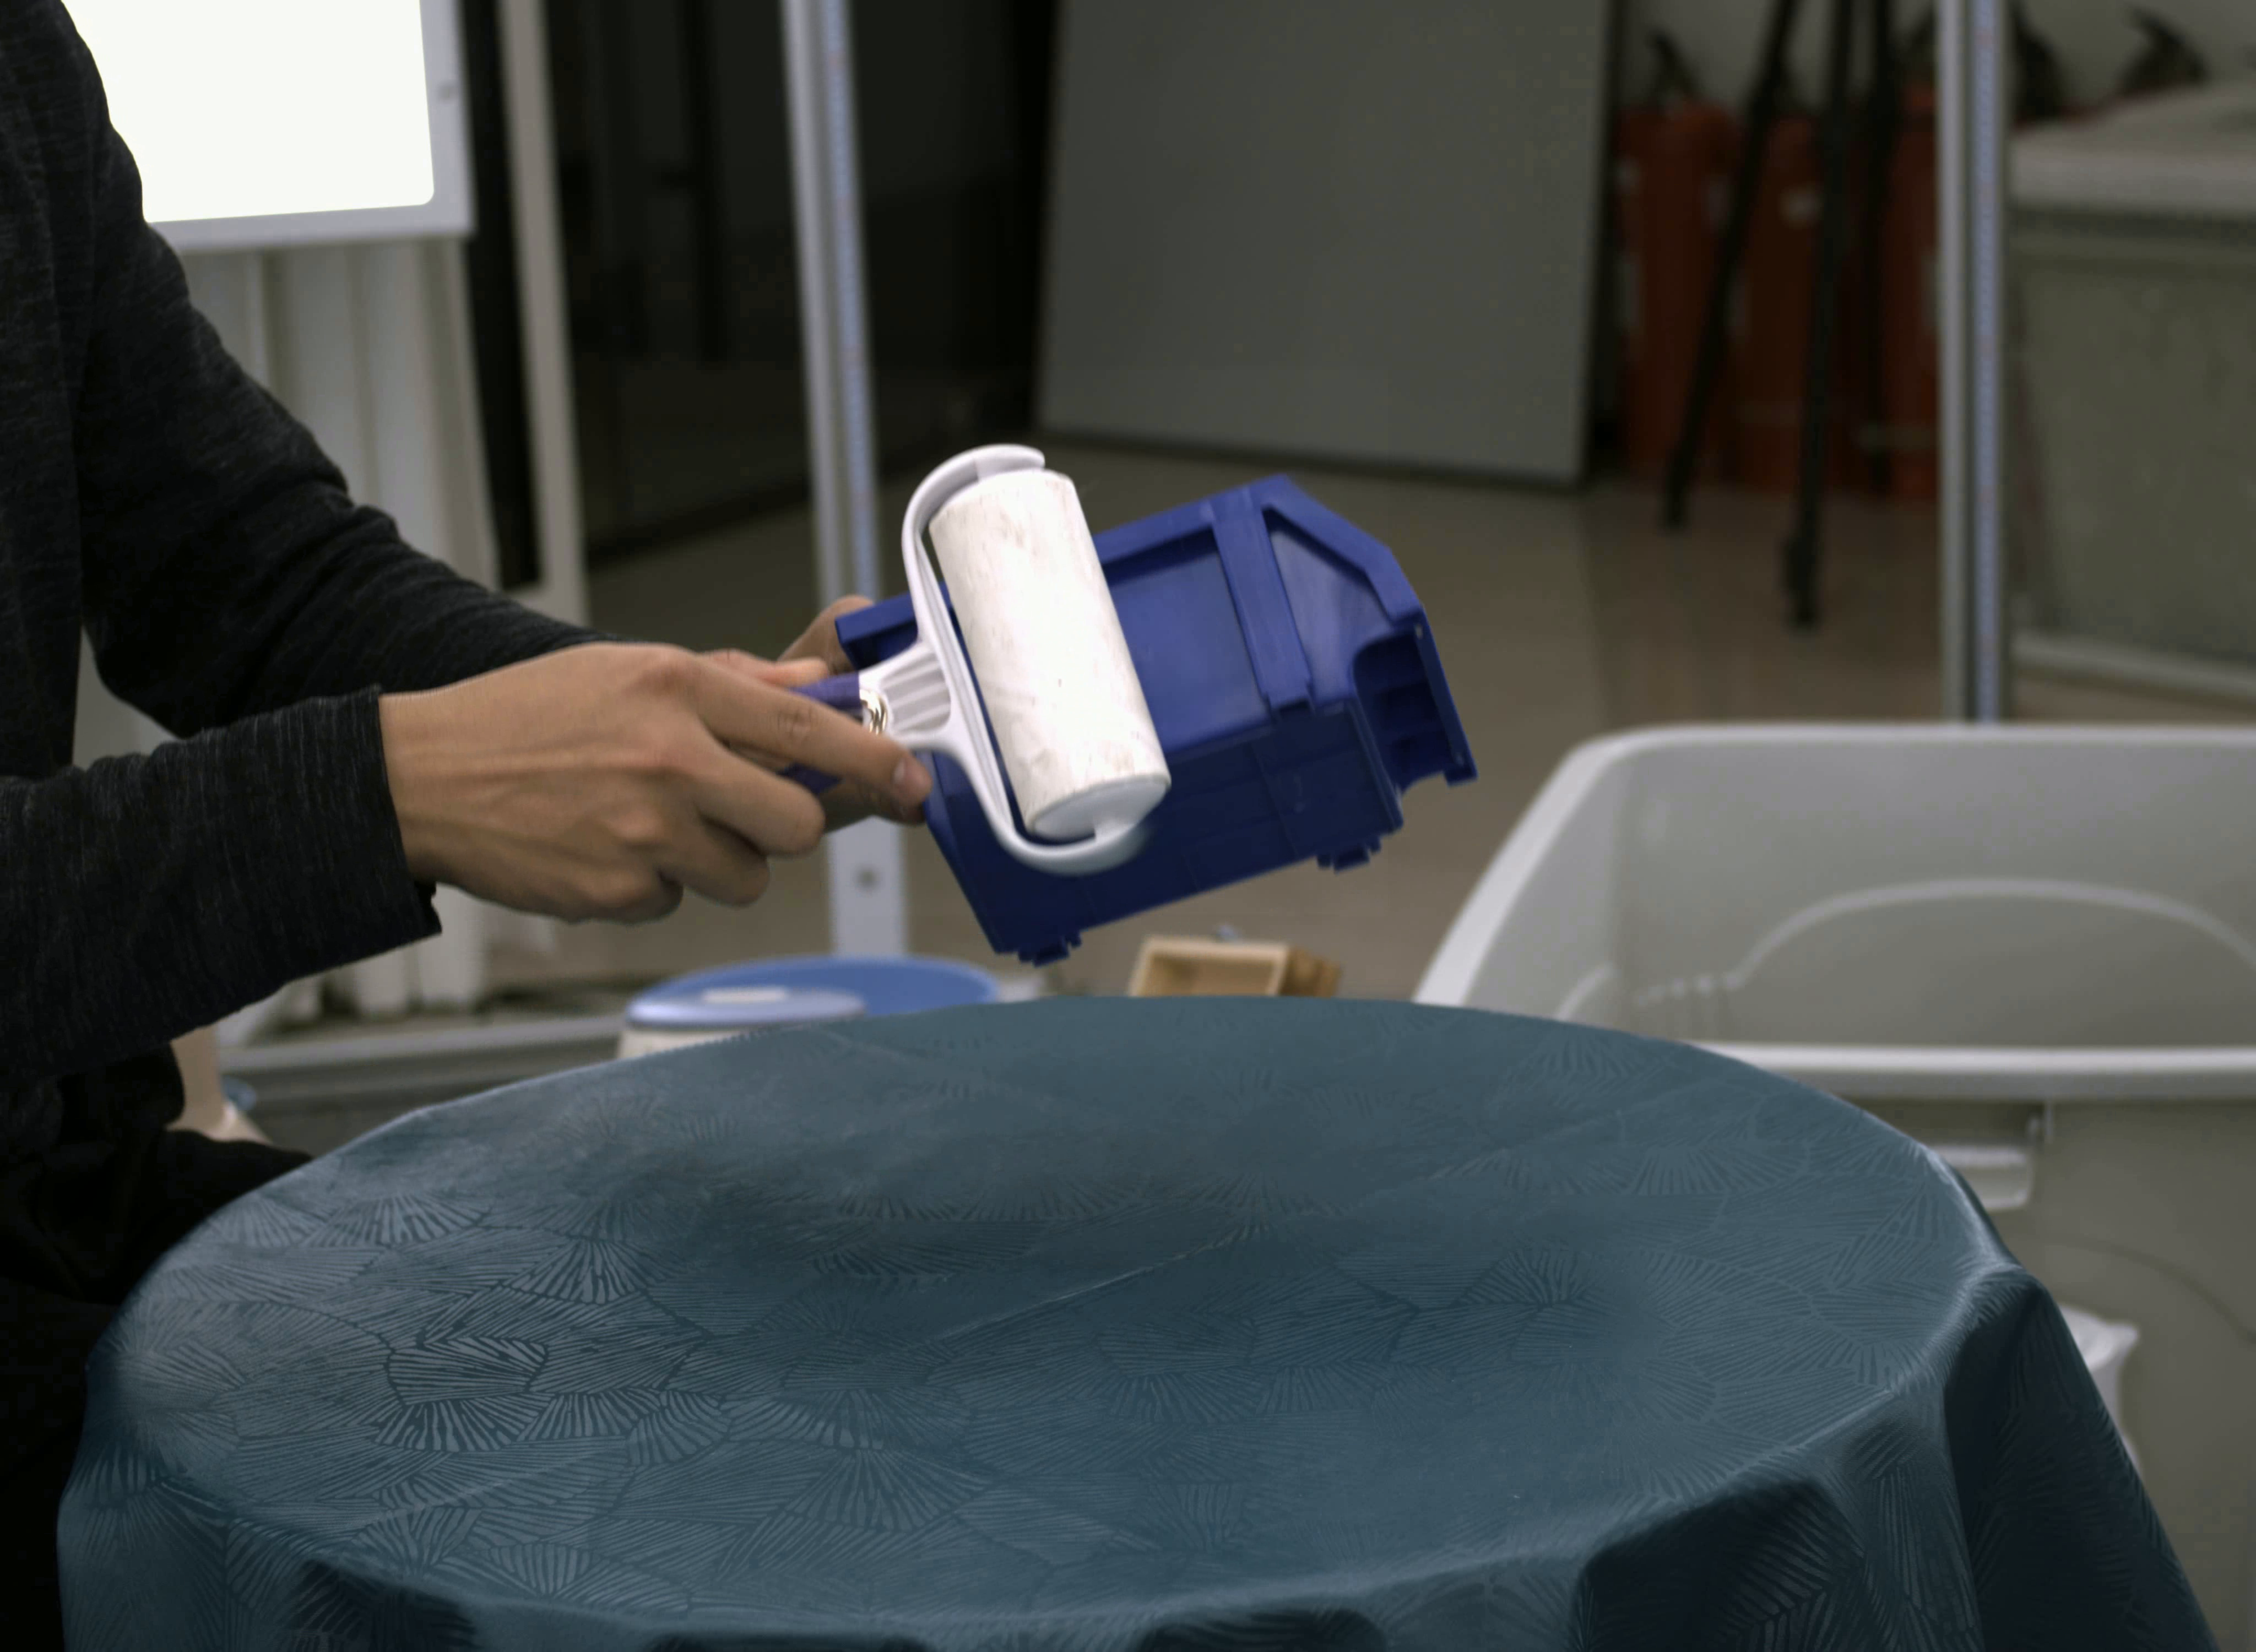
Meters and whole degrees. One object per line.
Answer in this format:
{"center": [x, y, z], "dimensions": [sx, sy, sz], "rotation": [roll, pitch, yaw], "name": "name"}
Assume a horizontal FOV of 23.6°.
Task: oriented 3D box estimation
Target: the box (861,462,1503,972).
{"center": [0.022, -0.034, 1.727], "dimensions": [0.178, 0.083, 0.124], "rotation": [-21, -30, 5], "name": "box"}

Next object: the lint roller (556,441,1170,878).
{"center": [-0.086, -0.033, 1.607], "dimensions": [0.178, 0.134, 0.050], "rotation": [-16, -13, -3], "name": "lint roller"}
